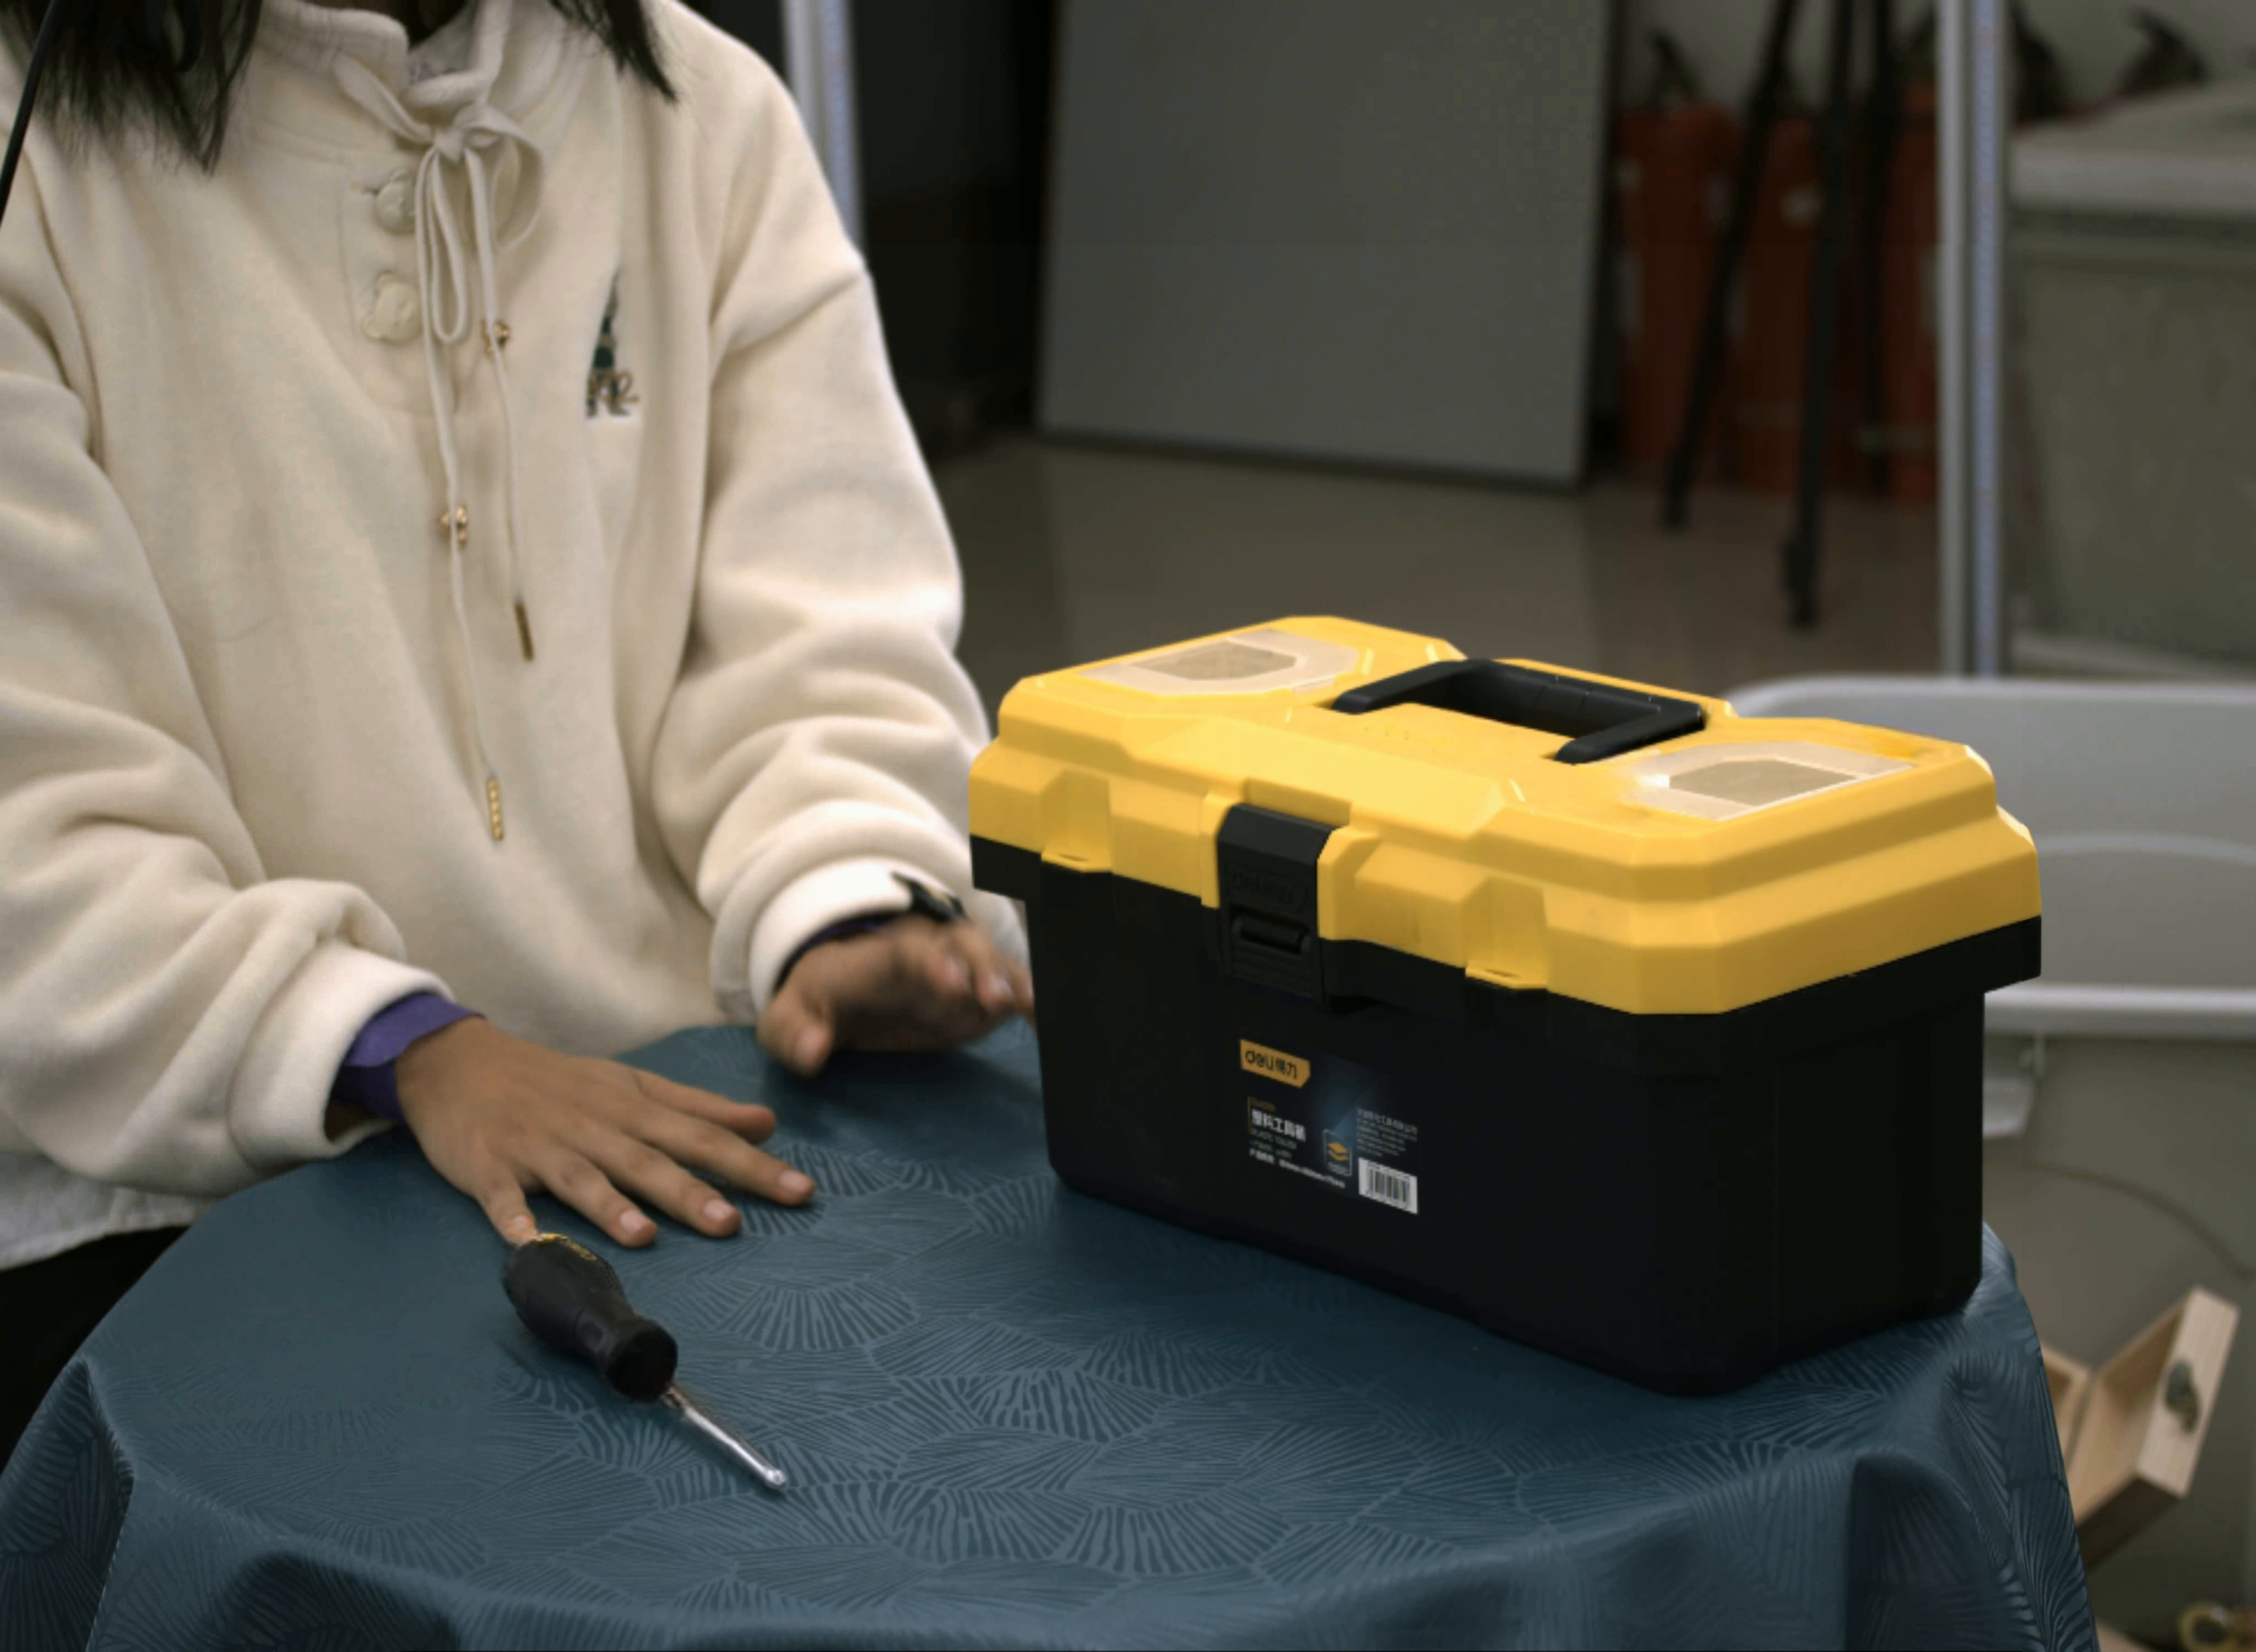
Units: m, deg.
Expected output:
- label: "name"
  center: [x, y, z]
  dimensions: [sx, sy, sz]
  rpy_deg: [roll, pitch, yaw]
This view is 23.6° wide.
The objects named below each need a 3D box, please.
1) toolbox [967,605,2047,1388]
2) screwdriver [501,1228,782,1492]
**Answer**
- label: "toolbox"
  center: [0.111, 0.045, 1.677]
  dimensions: [0.177, 0.175, 0.355]
  rpy_deg: [-13, 17, -35]
- label: "screwdriver"
  center: [-0.142, 0.157, 1.600]
  dimensions: [0.031, 0.032, 0.198]
  rpy_deg: [-10, 16, -25]
